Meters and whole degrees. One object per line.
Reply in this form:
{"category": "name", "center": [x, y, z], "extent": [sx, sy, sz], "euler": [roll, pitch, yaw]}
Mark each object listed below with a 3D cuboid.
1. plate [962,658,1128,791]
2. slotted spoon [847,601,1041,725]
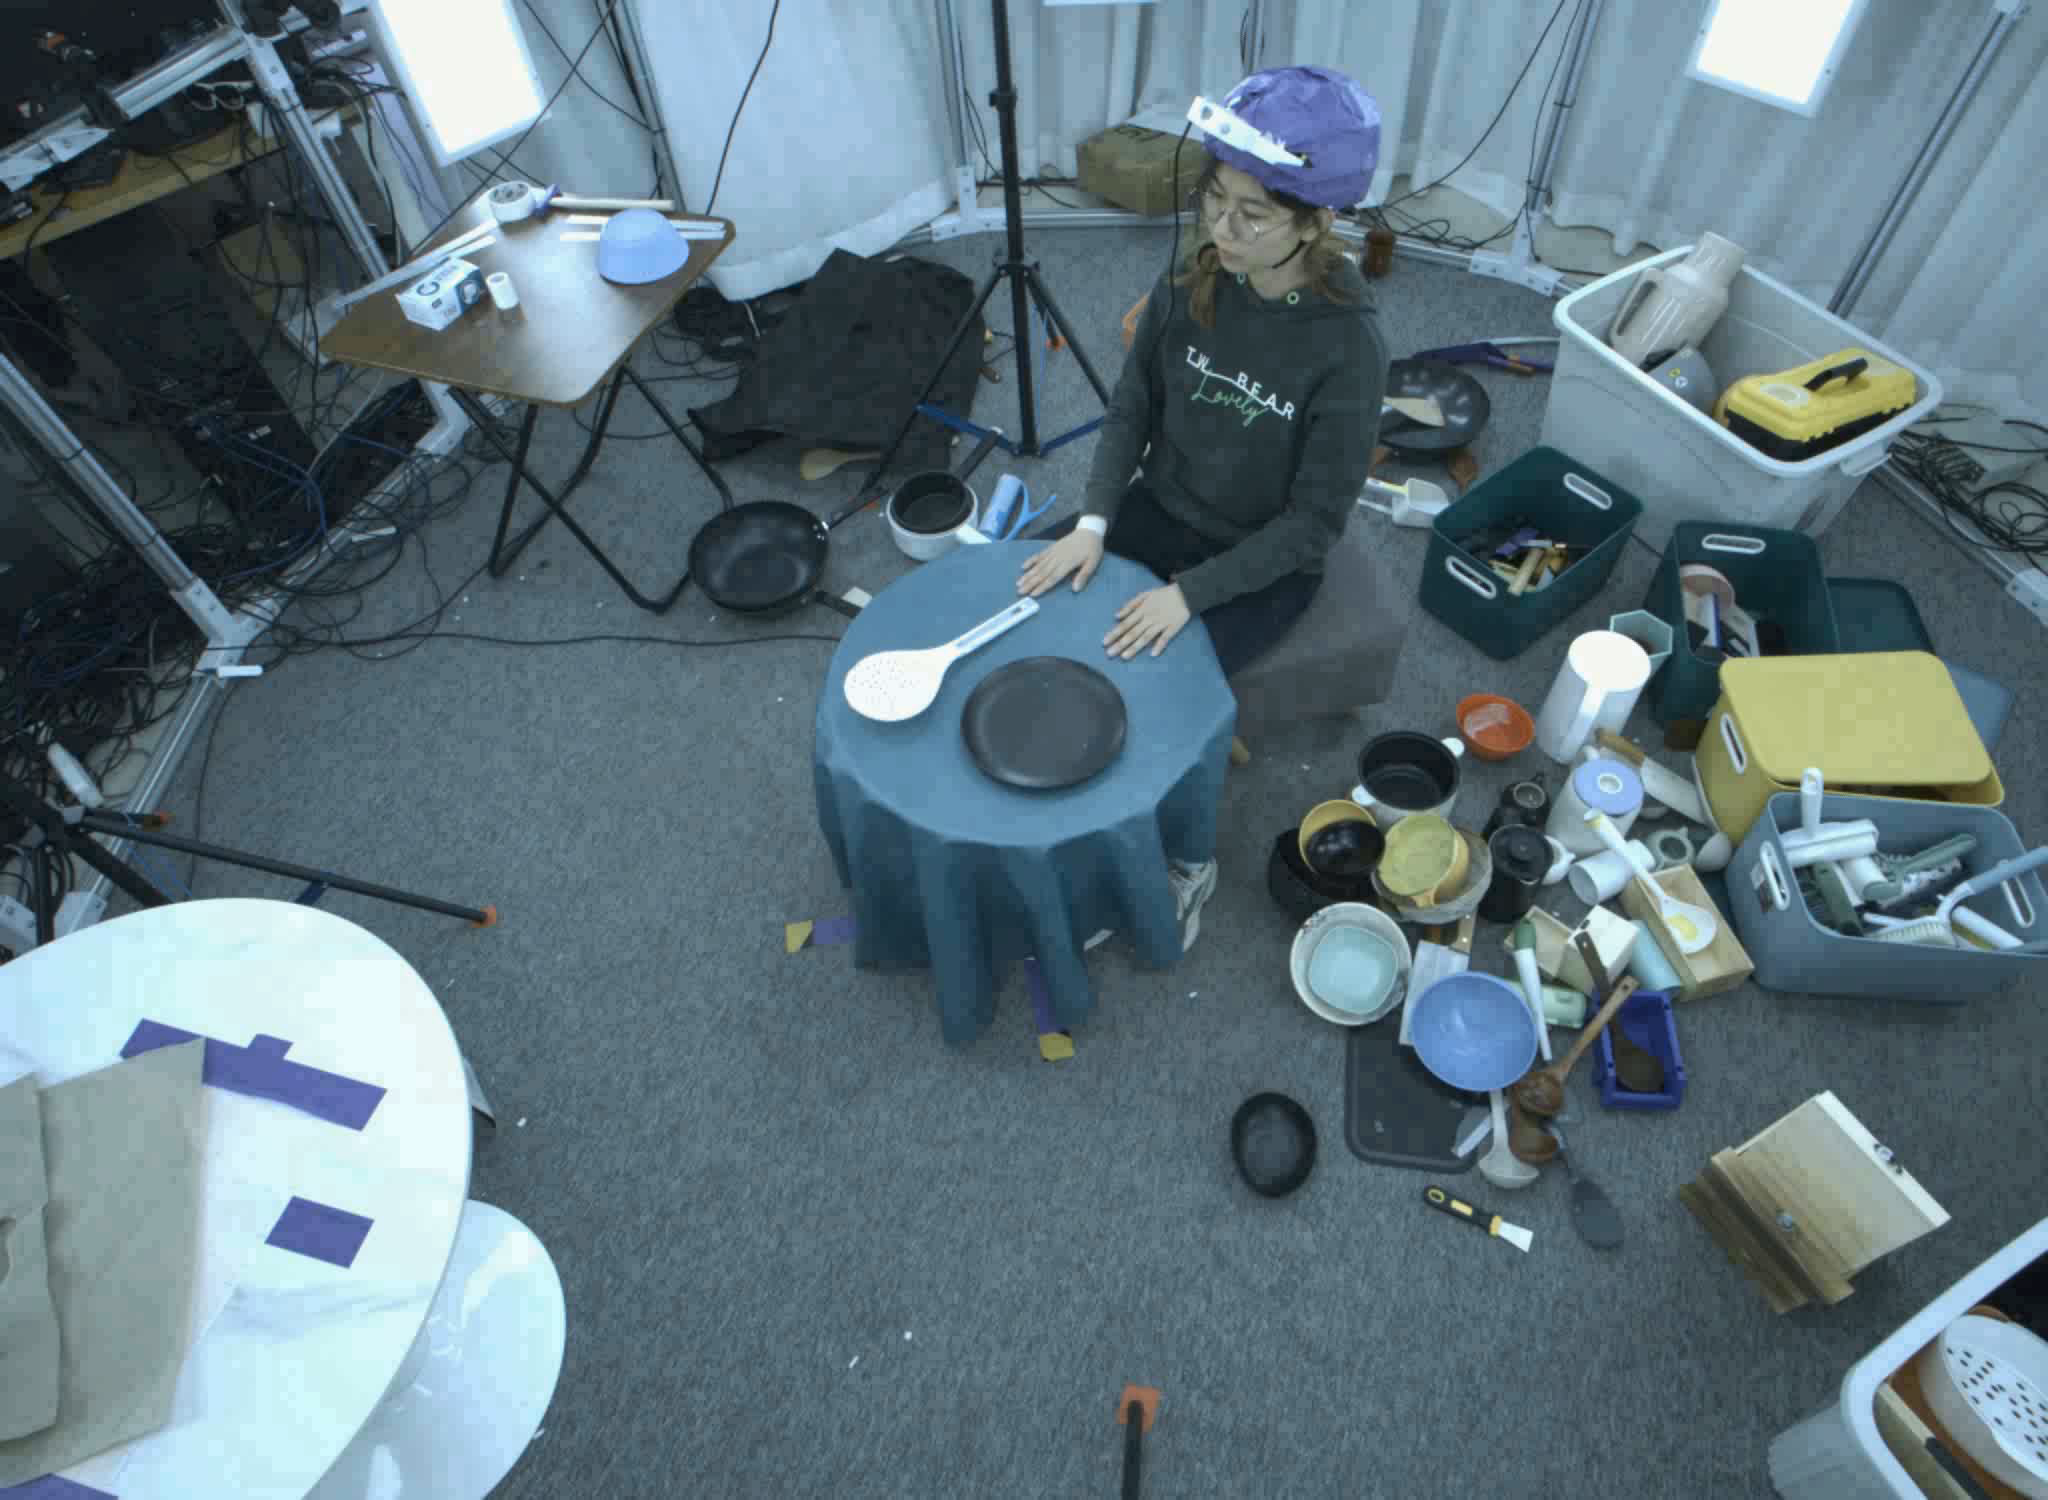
{"category": "plate", "center": [0.032, -0.035, 1.807], "extent": [0.244, 0.023, 0.242], "euler": [0, 55, 2]}
{"category": "slotted spoon", "center": [-0.114, -0.141, 1.872], "extent": [0.352, 0.046, 0.133], "euler": [-36, 63, -22]}
